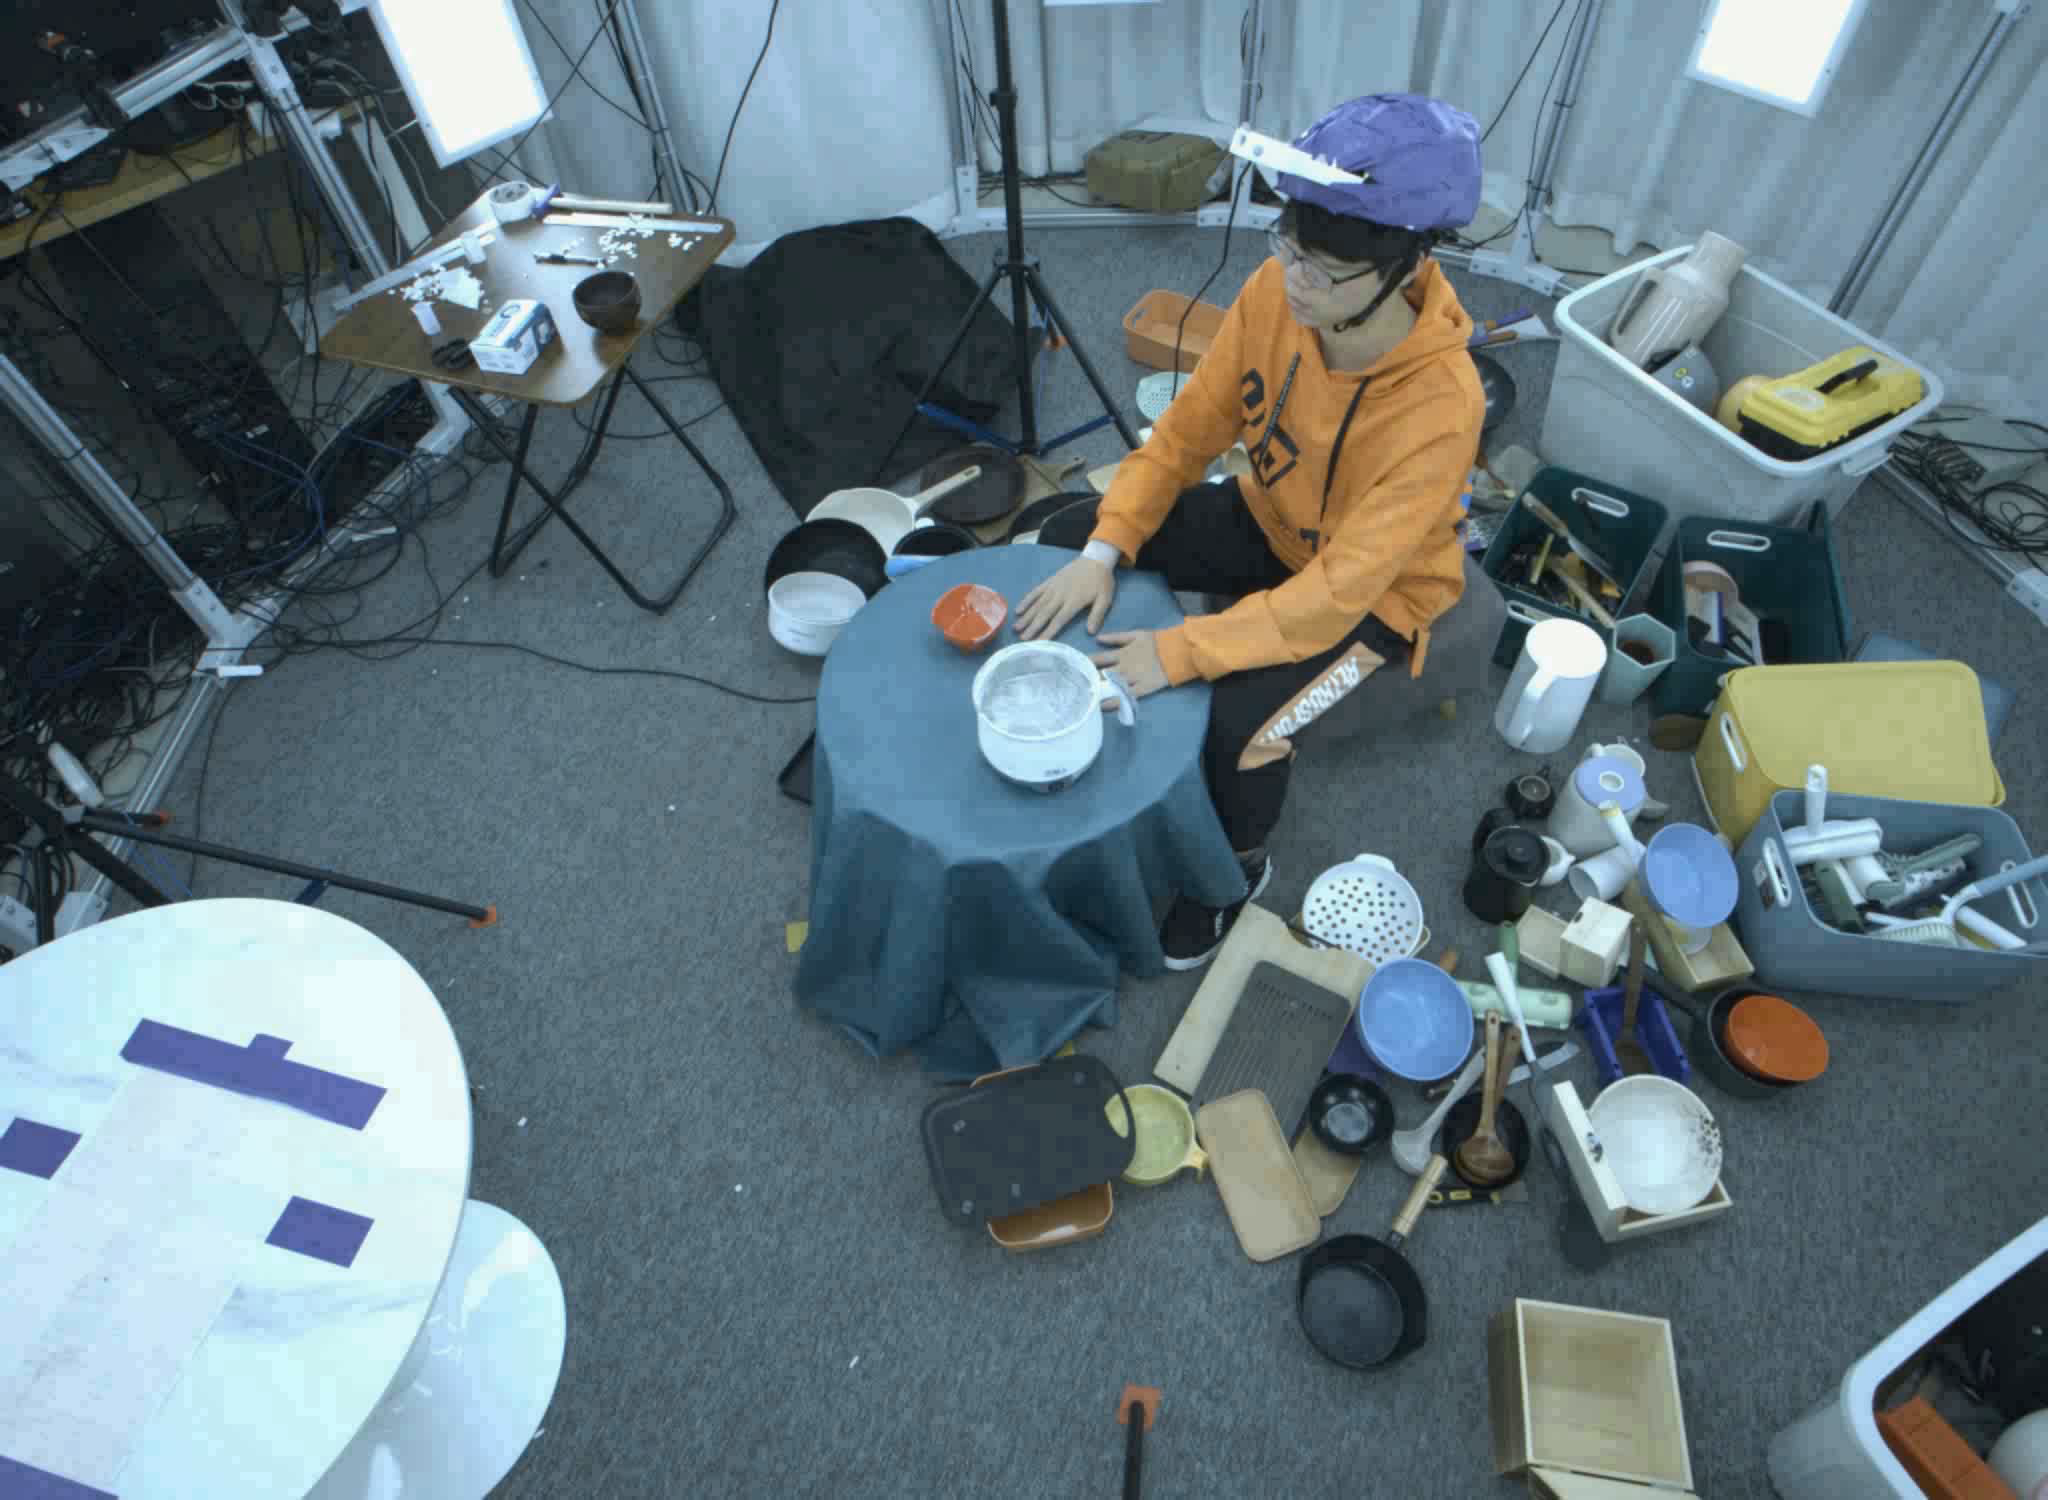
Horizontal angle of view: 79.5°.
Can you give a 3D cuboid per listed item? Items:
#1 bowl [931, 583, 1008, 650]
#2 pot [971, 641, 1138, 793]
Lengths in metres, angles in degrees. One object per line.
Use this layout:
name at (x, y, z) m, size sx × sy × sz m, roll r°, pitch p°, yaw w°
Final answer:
bowl at (-0.082, -0.199, 1.900) m, size 0.119 × 0.052 × 0.117 m, roll -1°, pitch 55°, yaw 3°
pot at (0.047, -0.053, 1.738) m, size 0.235 × 0.138 × 0.176 m, roll -15°, pitch 56°, yaw -7°
